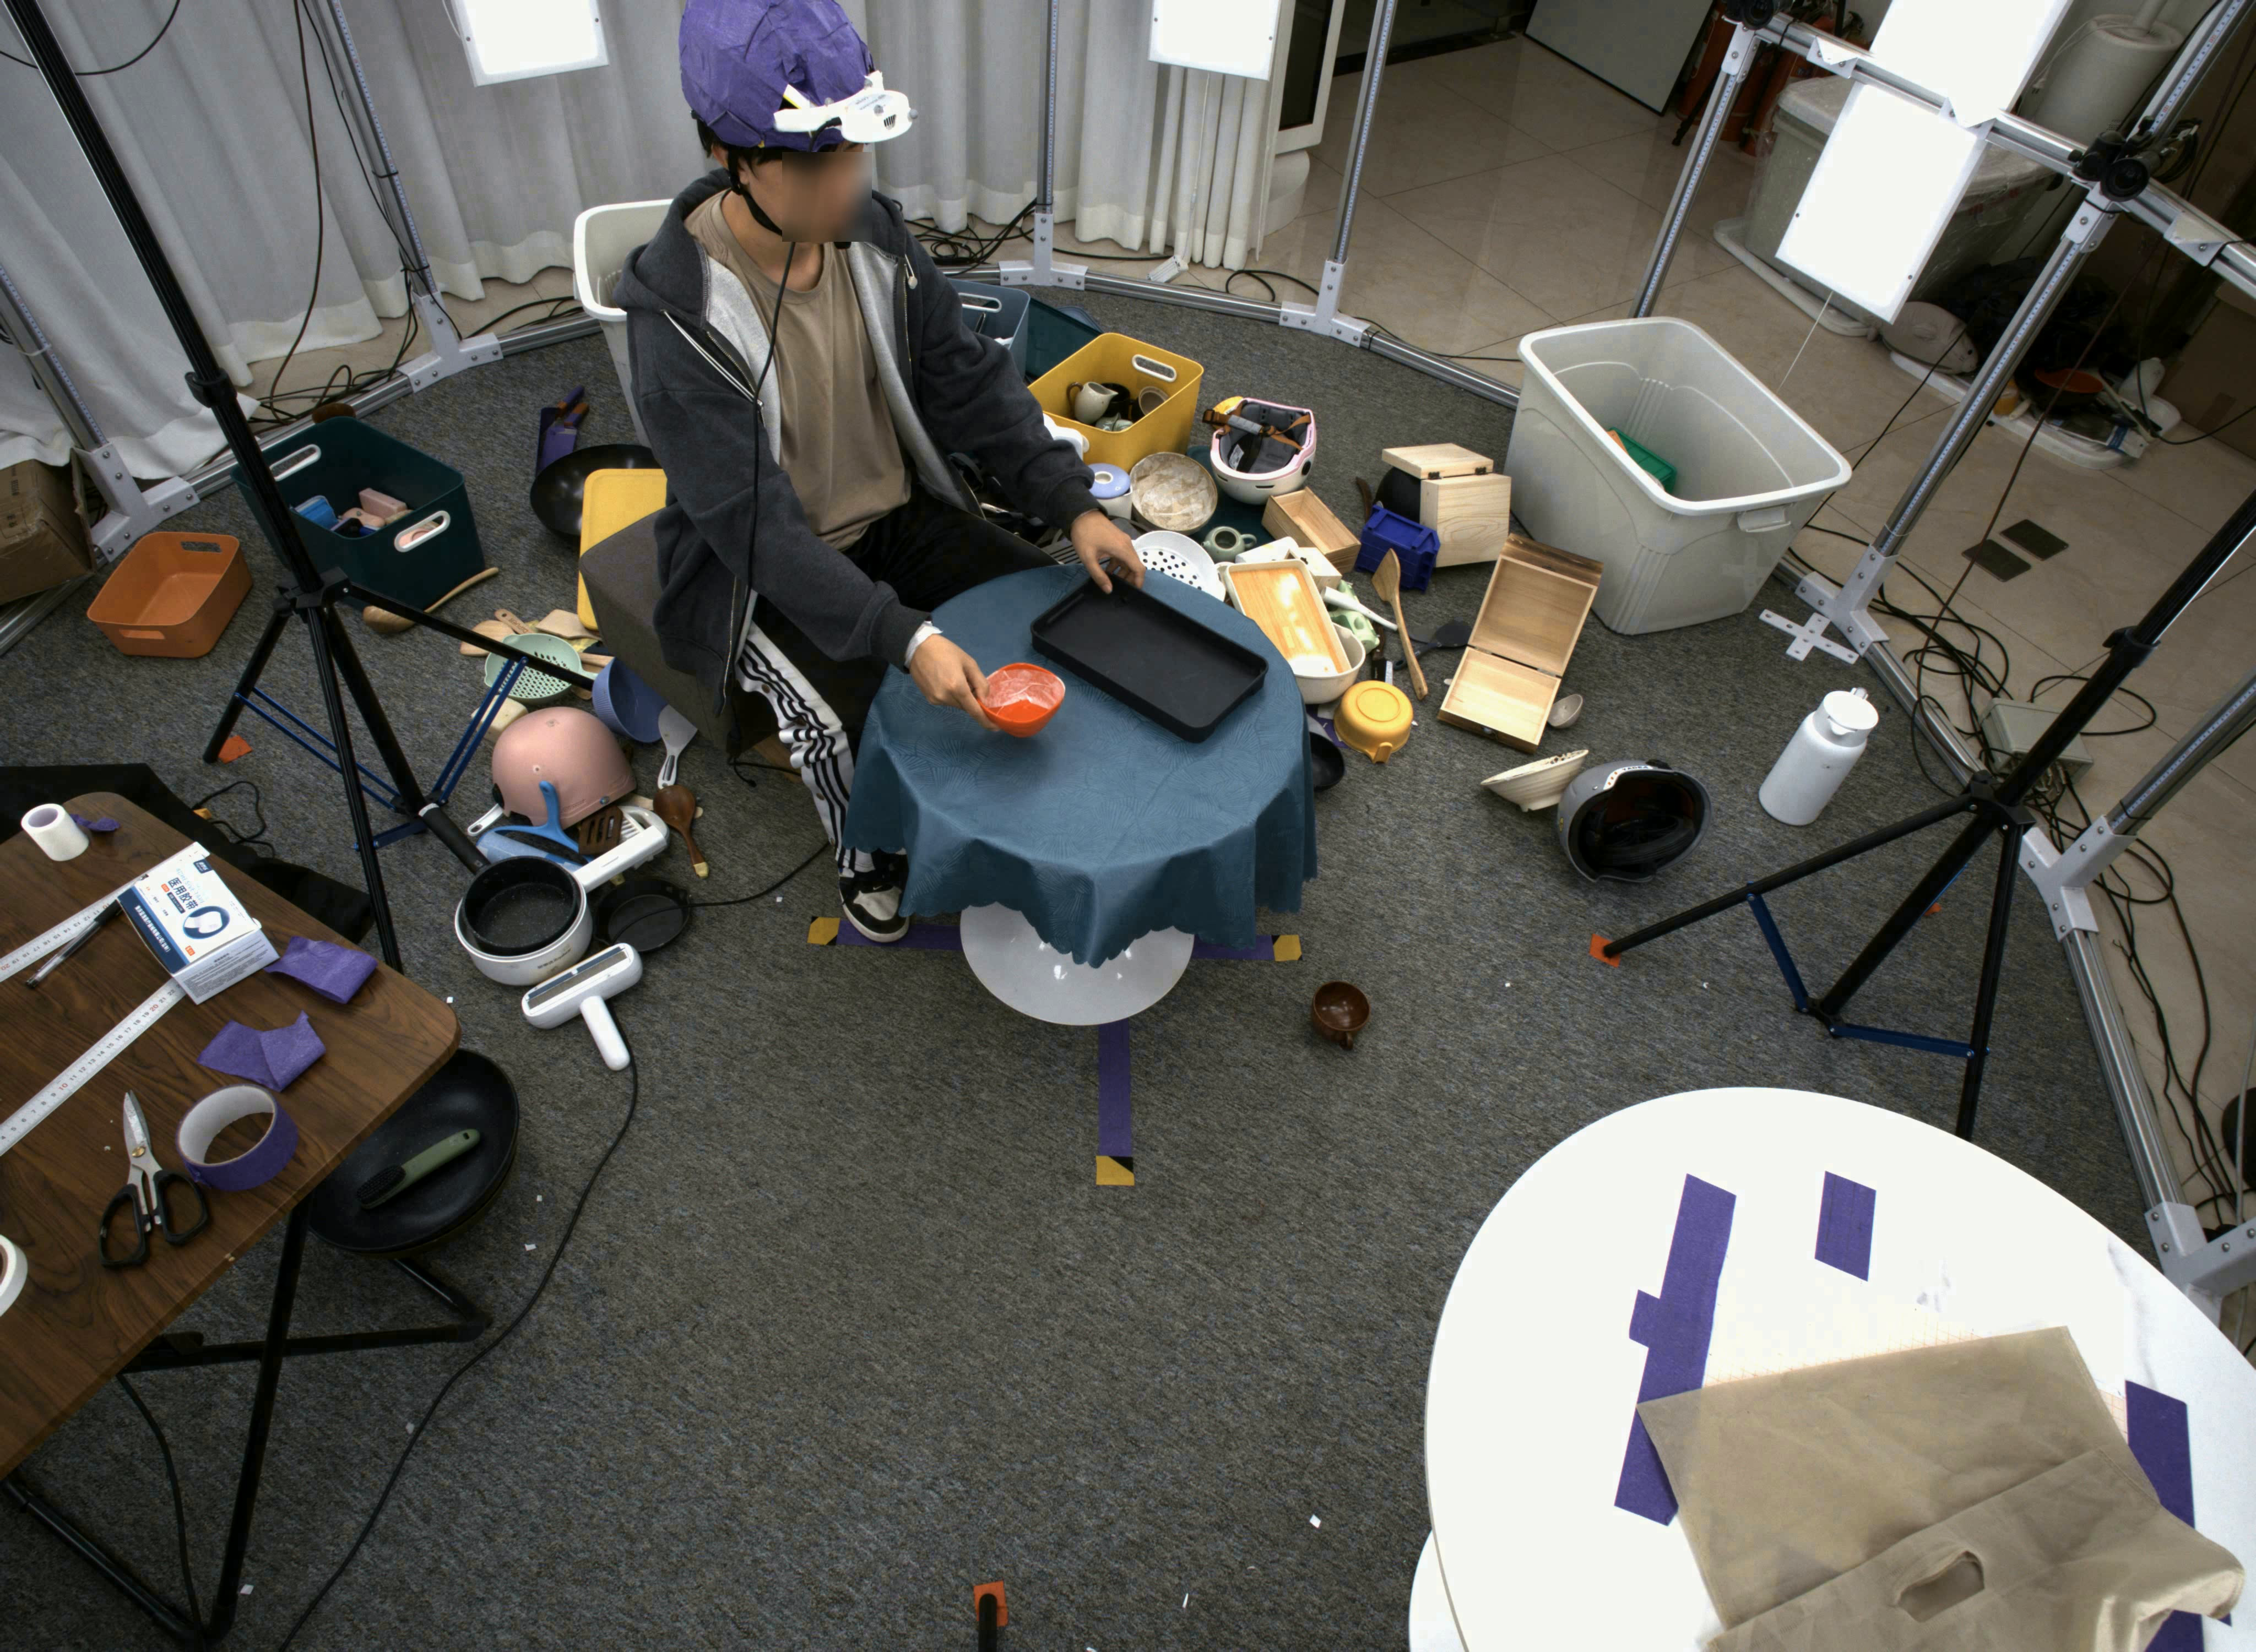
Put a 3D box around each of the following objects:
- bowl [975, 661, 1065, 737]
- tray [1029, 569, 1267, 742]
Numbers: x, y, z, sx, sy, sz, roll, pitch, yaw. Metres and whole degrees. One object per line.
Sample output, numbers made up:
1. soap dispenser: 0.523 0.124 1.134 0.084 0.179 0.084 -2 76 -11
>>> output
1. bowl: -0.143 -0.164 1.720 0.119 0.050 0.122 0 48 0
2. tray: 0.027 -0.252 1.861 0.322 0.036 0.186 33 54 22
